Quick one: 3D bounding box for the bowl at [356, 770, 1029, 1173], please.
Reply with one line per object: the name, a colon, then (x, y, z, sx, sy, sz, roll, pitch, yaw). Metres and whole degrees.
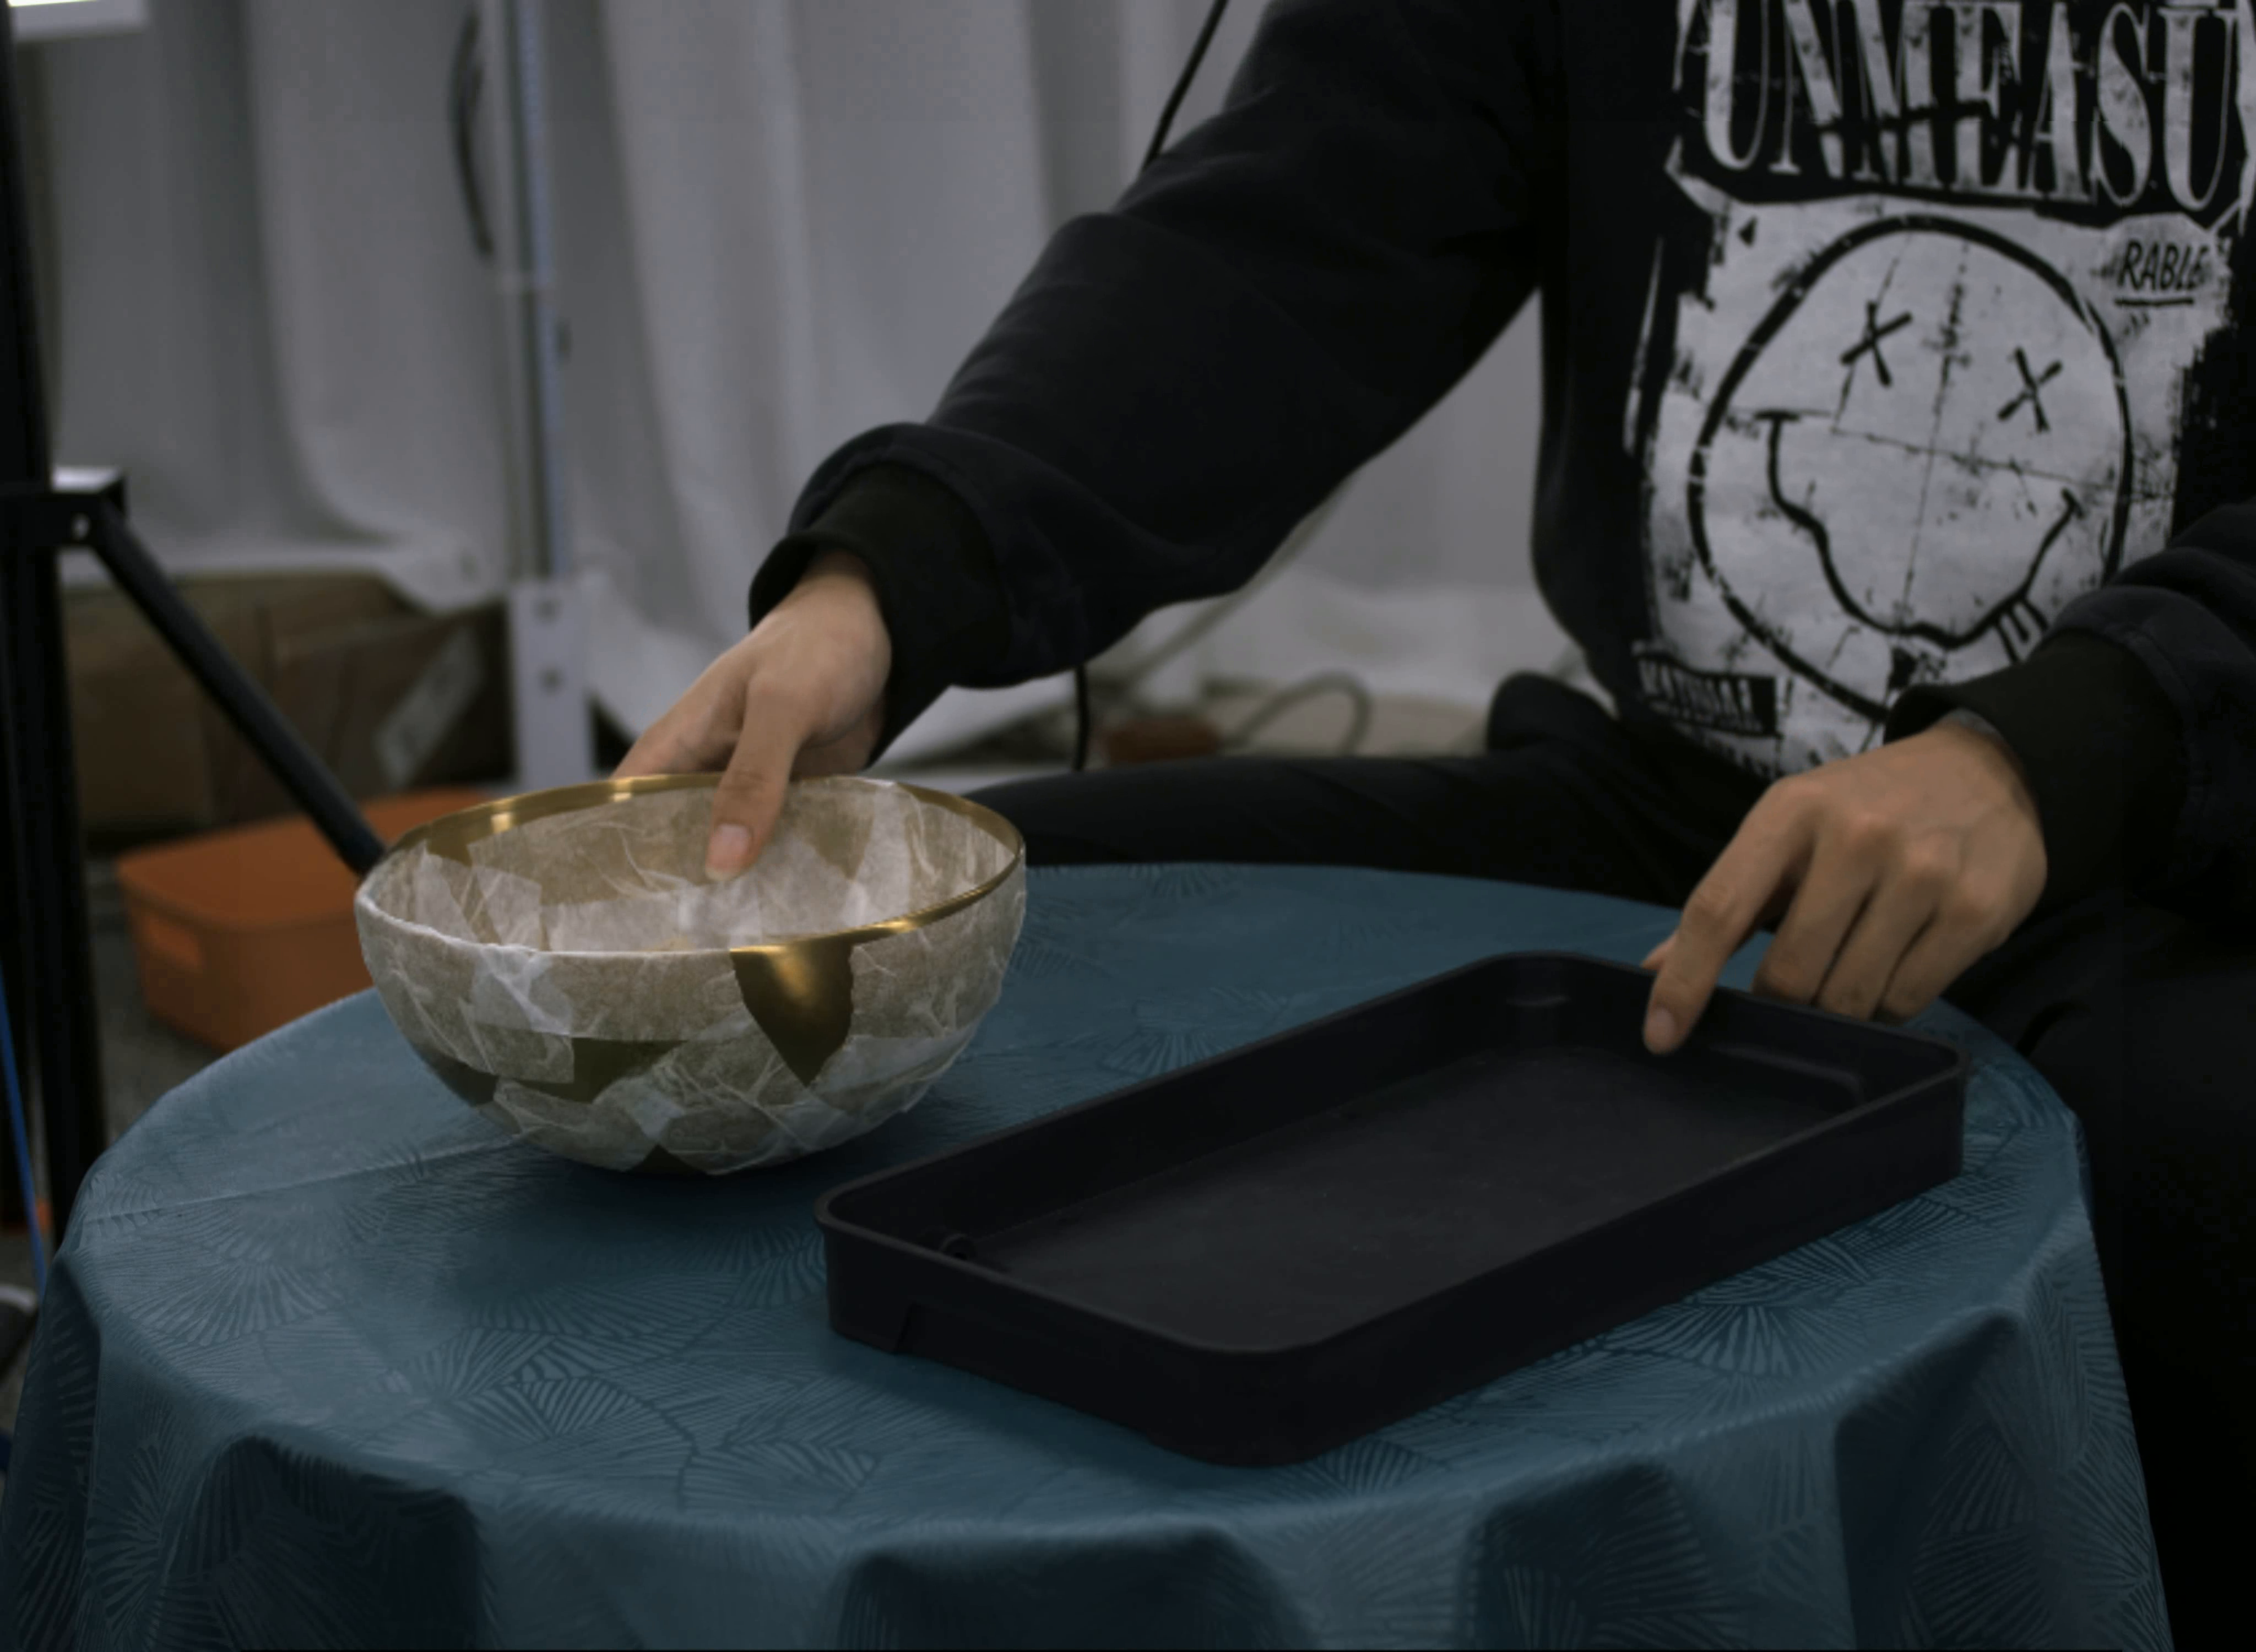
bowl: (-0.125, 0.051, 1.612, 0.213, 0.094, 0.216, -4, 15, 0)

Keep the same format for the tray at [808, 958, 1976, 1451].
tray: (0.079, 0.101, 1.499, 0.310, 0.037, 0.188, -15, 19, -41)
